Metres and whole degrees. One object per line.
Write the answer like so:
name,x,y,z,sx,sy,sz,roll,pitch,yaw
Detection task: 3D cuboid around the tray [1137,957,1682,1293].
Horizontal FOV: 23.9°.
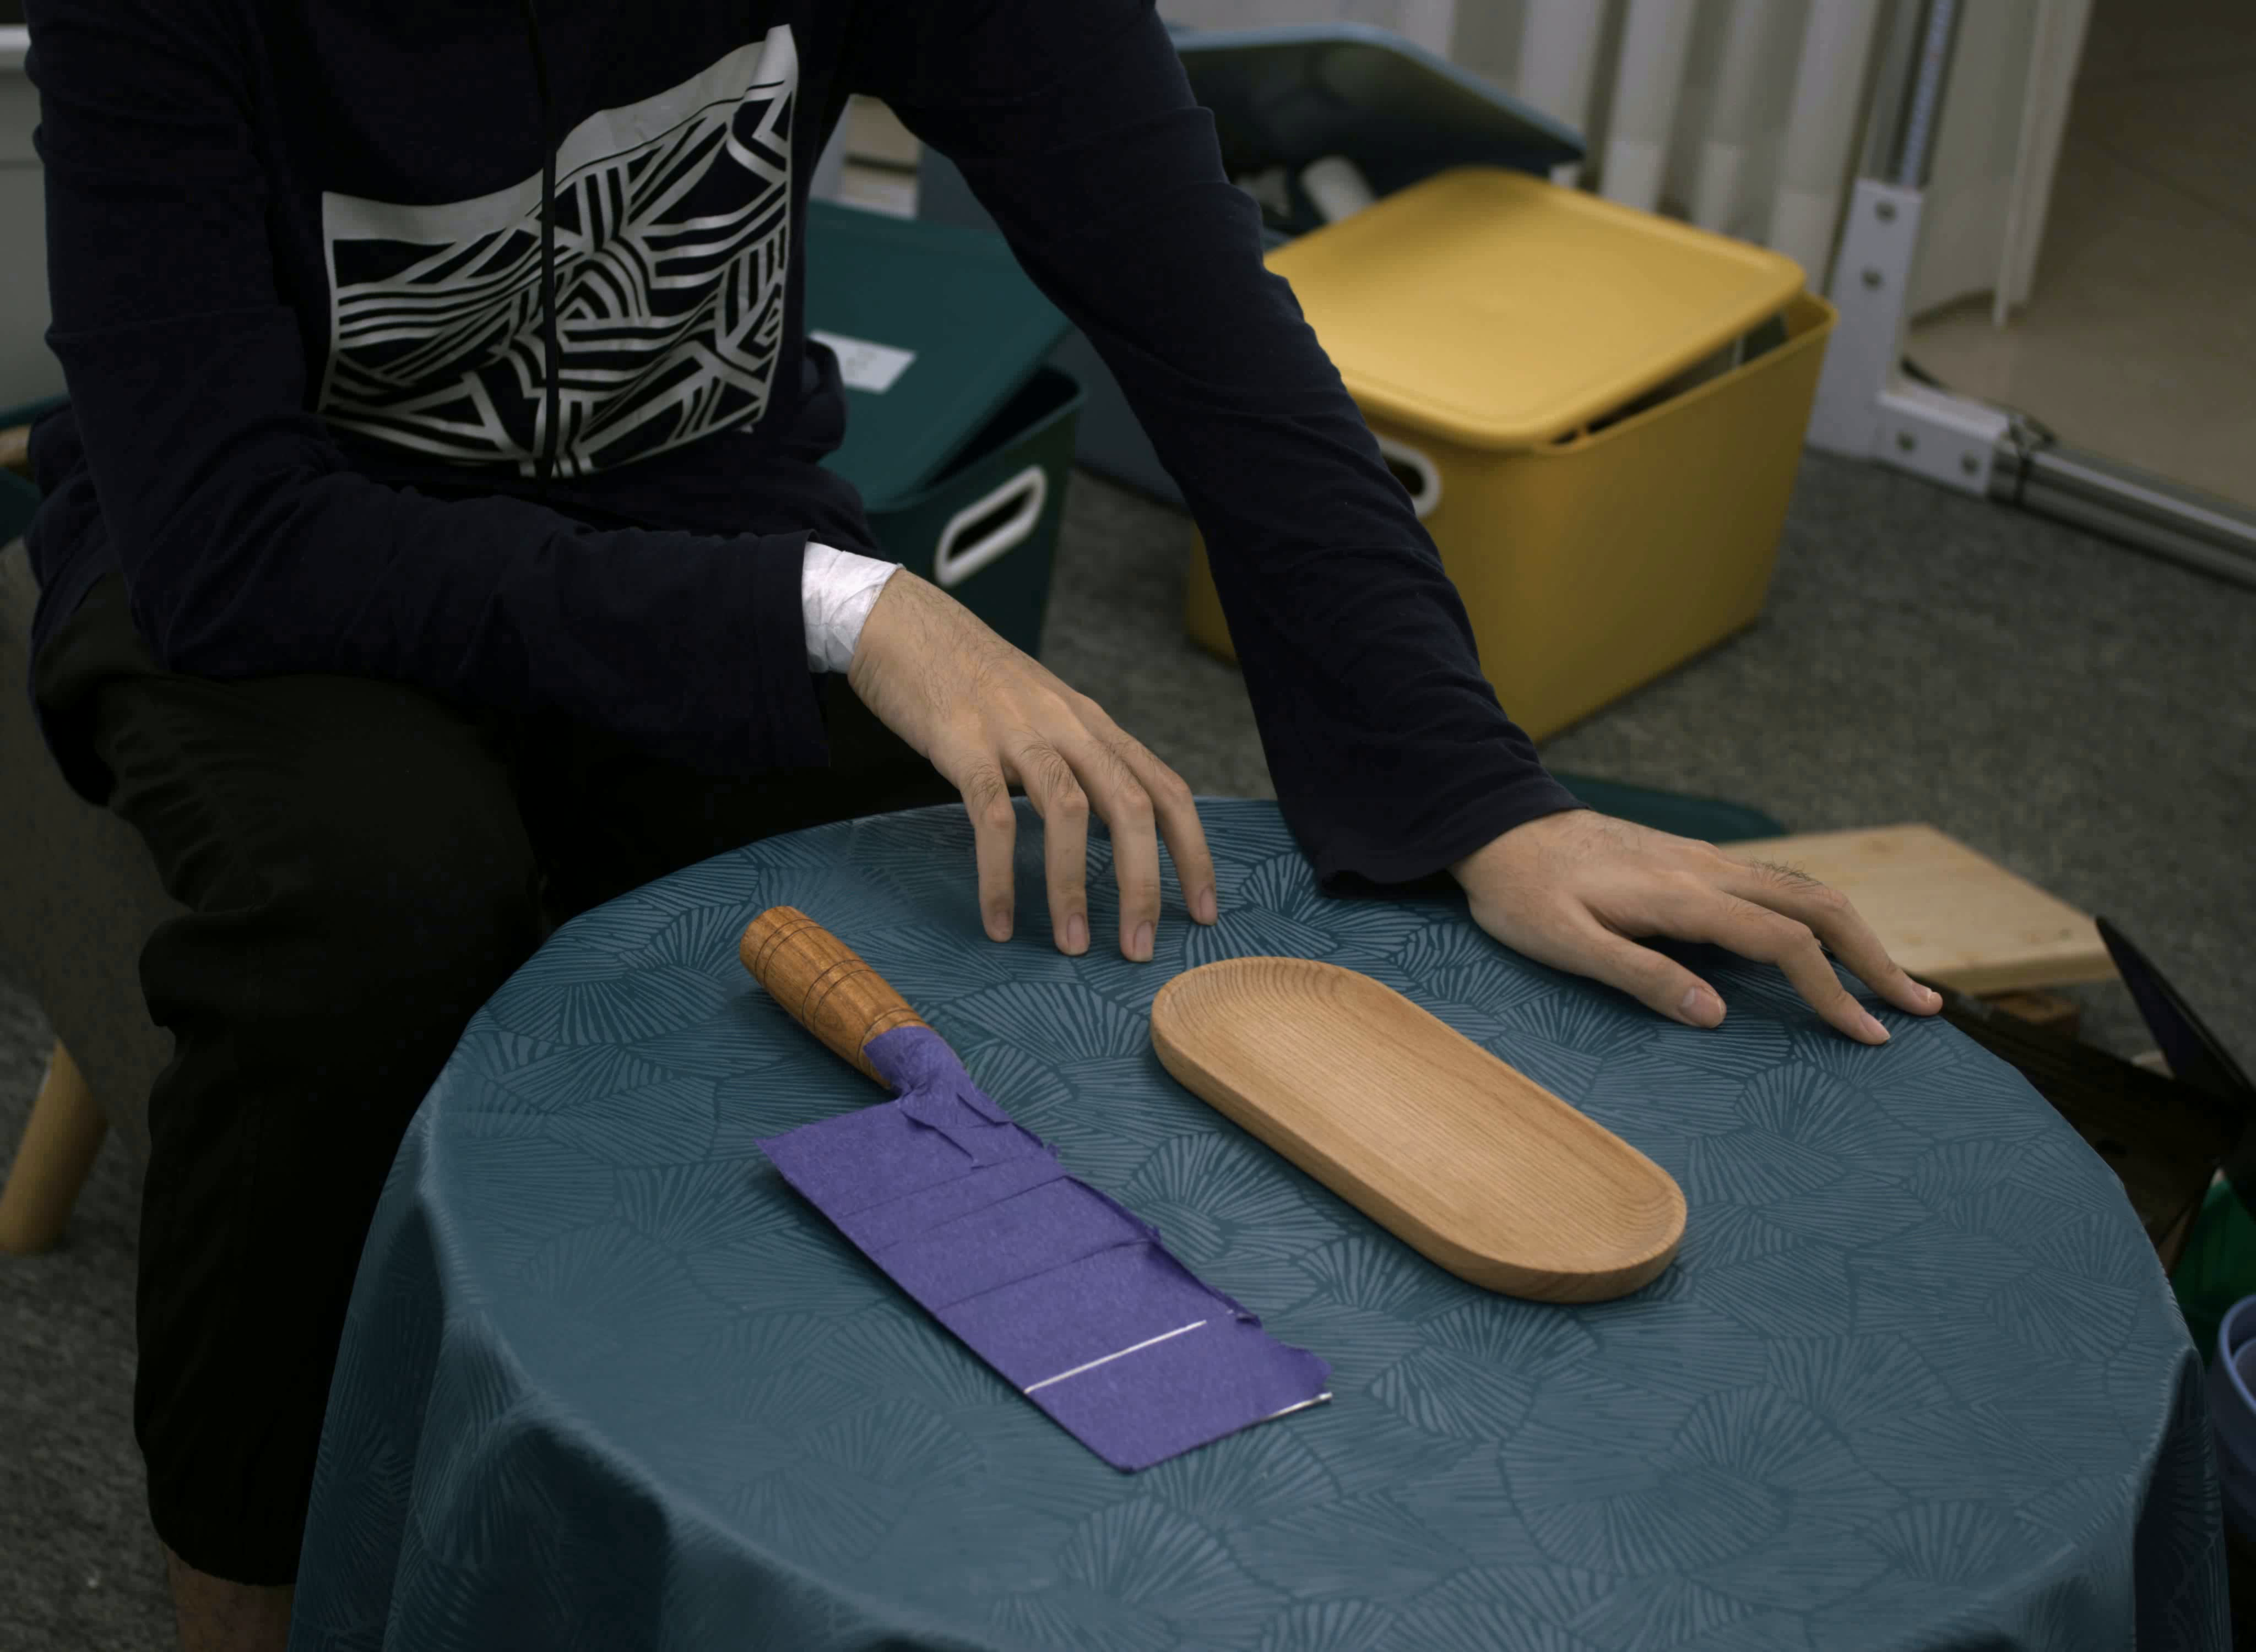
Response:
tray,0.096,0.102,1.852,0.101,0.020,0.233,-15,32,-38

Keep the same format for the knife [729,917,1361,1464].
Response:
knife,-0.058,0.117,1.776,0.103,0.032,0.318,-14,34,-36
